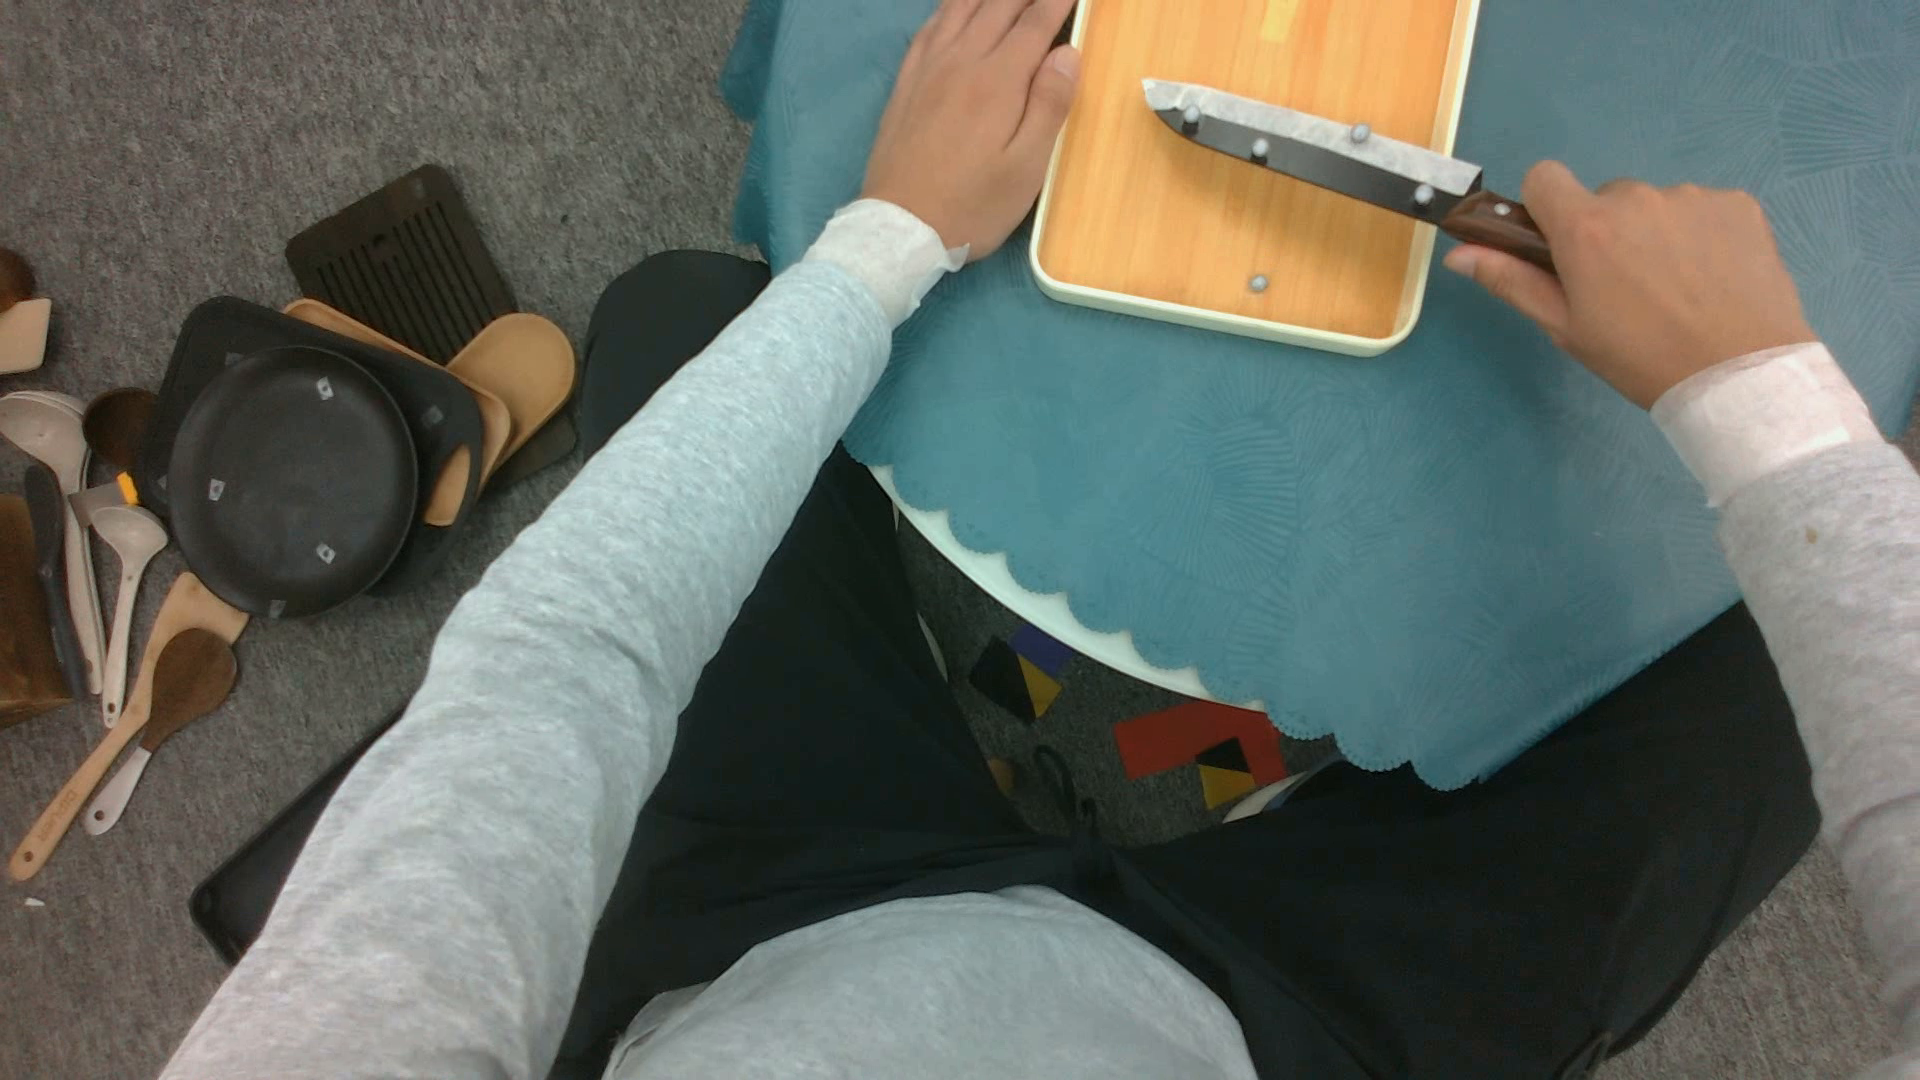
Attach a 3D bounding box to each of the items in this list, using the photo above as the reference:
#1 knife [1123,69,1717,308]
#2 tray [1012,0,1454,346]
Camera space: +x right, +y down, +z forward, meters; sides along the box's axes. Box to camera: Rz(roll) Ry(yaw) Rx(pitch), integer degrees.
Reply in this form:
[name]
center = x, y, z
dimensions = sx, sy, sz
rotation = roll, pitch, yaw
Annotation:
[knife]
center = 0.201, -0.169, 0.633
dimensions = 0.289, 0.020, 0.050
rotation = 27, 59, 20
[tray]
center = 0.145, -0.258, 0.691
dimensions = 0.191, 0.027, 0.300
rotation = 11, 85, 4
